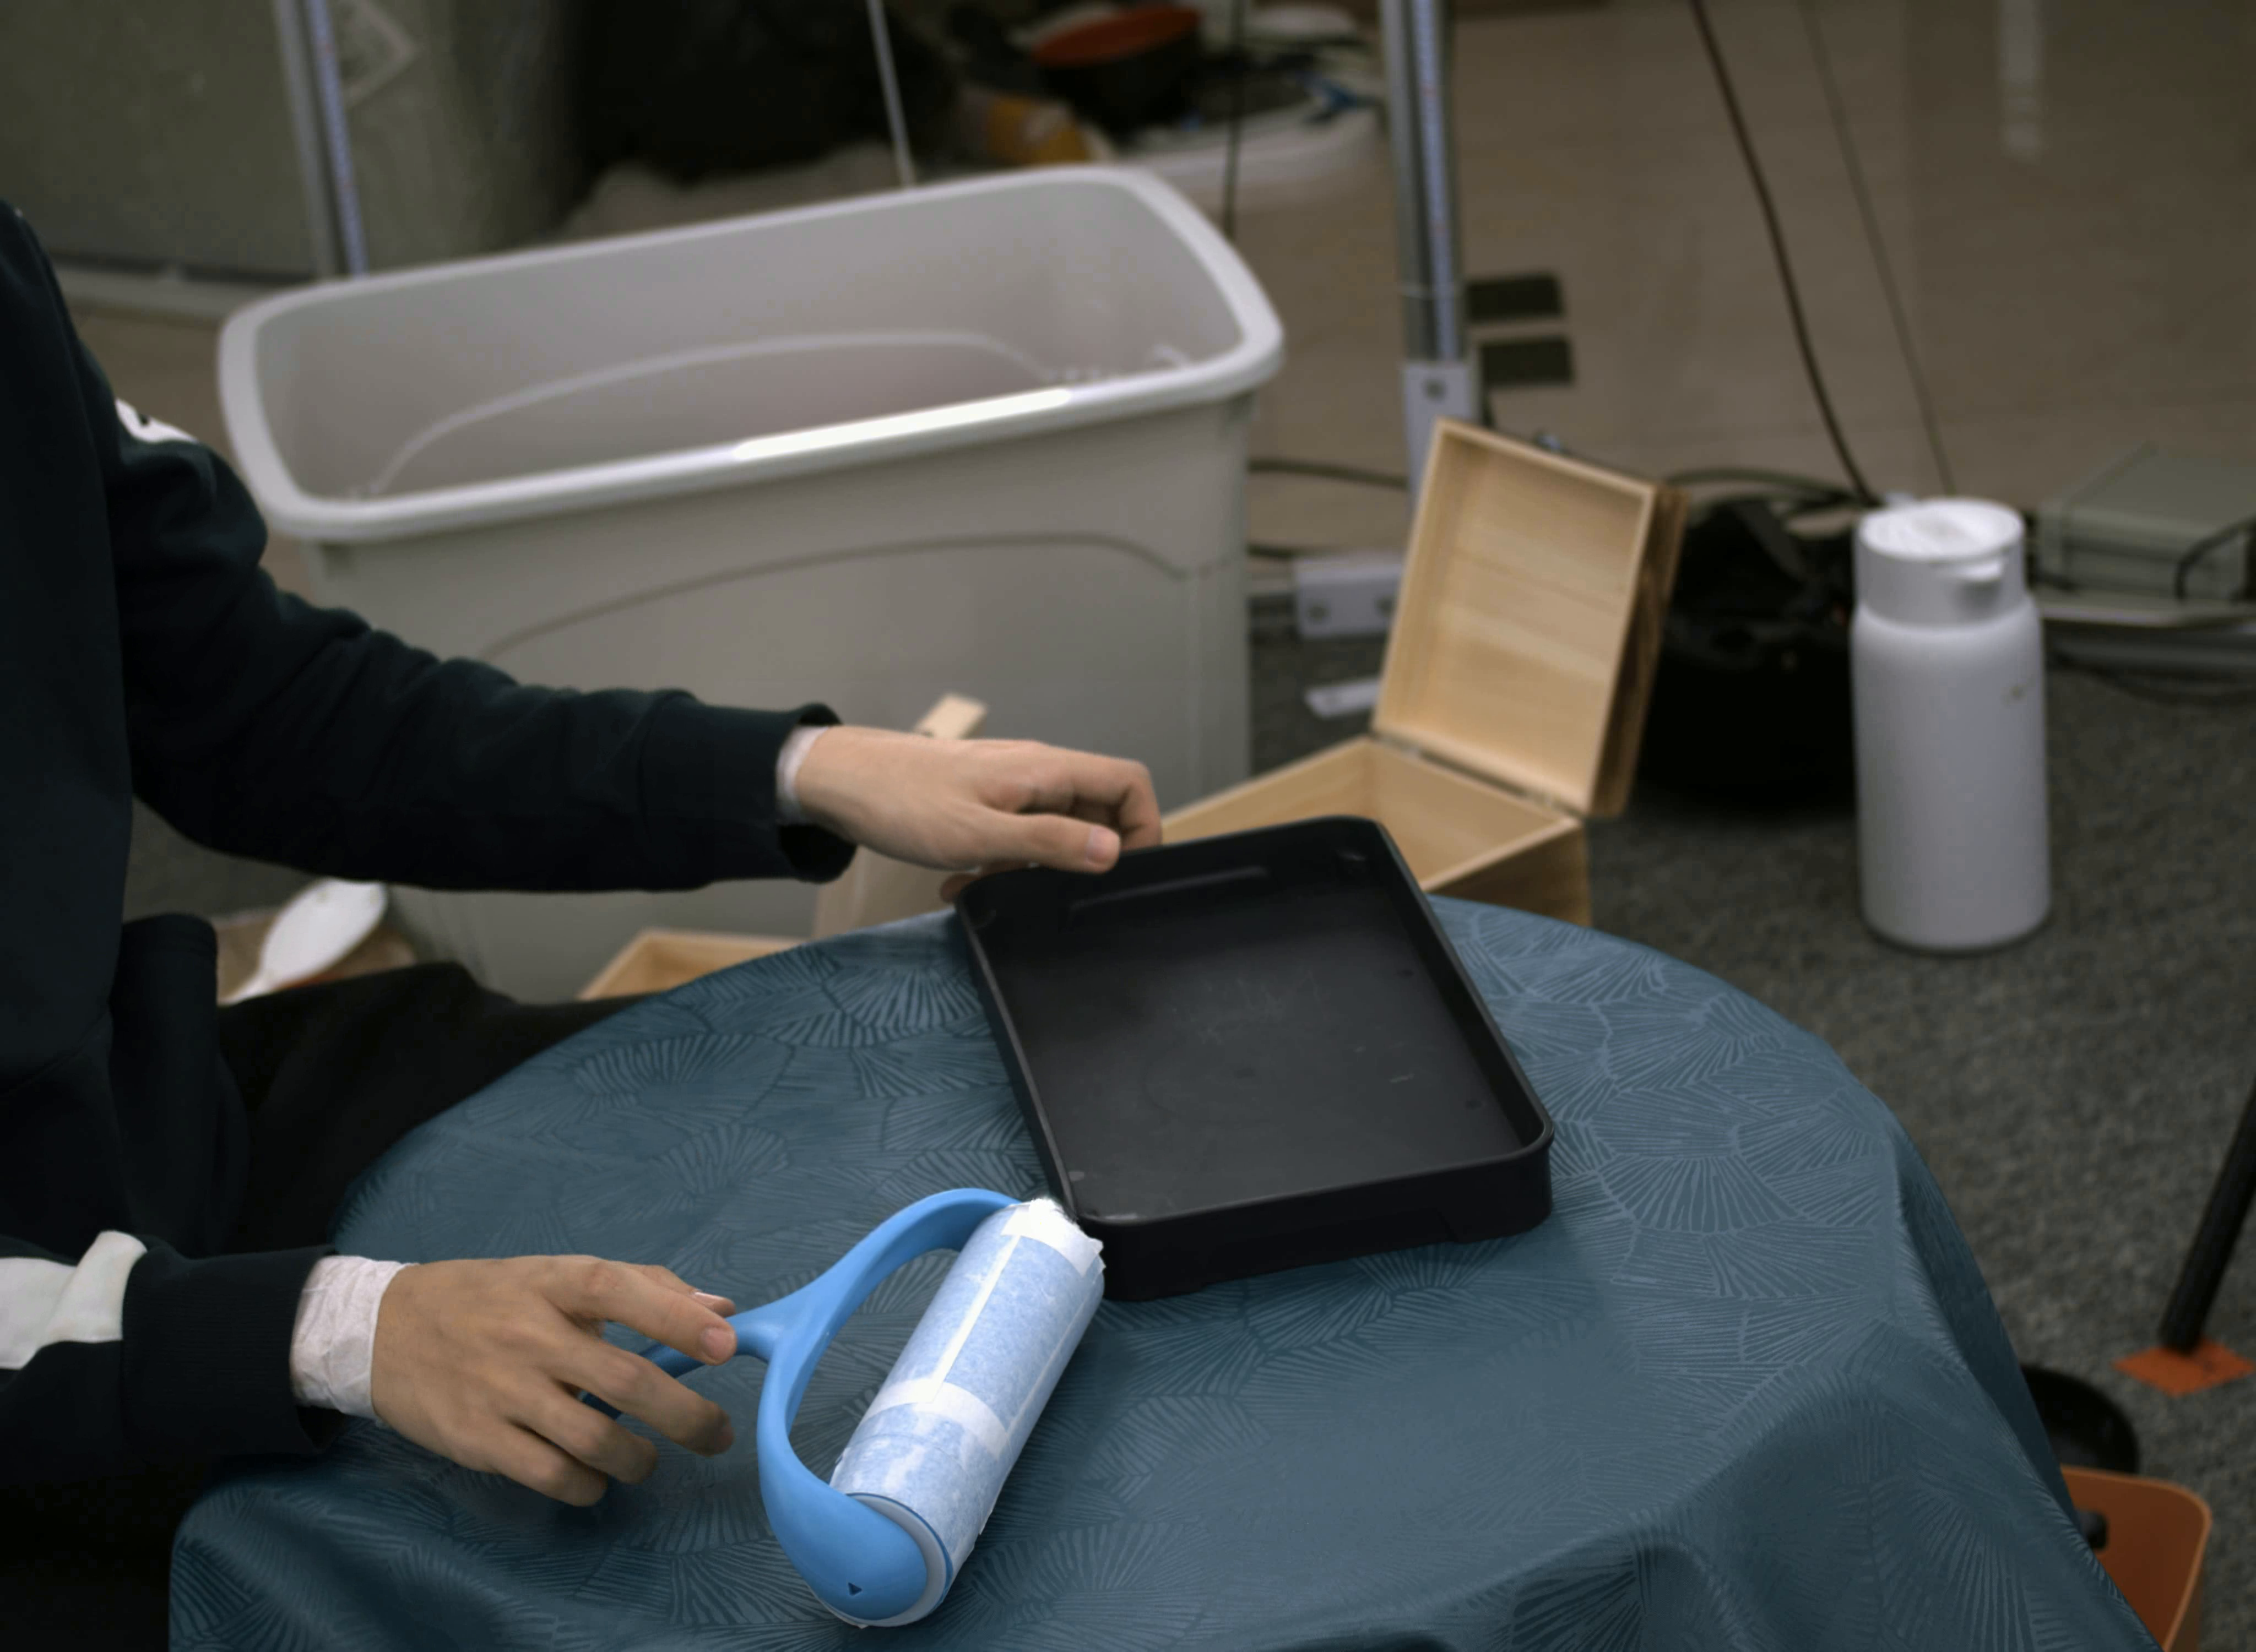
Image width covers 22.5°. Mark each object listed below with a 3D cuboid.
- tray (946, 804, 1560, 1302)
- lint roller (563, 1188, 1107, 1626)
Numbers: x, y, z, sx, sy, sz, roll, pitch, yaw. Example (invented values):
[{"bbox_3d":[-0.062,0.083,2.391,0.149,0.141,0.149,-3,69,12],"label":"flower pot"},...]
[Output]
[{"bbox_3d":[0.044,0.083,2.211,0.184,0.037,0.313,-11,26,-8],"label":"tray"},{"bbox_3d":[-0.116,0.199,1.975,0.180,0.069,0.225,2,28,14],"label":"lint roller"}]
